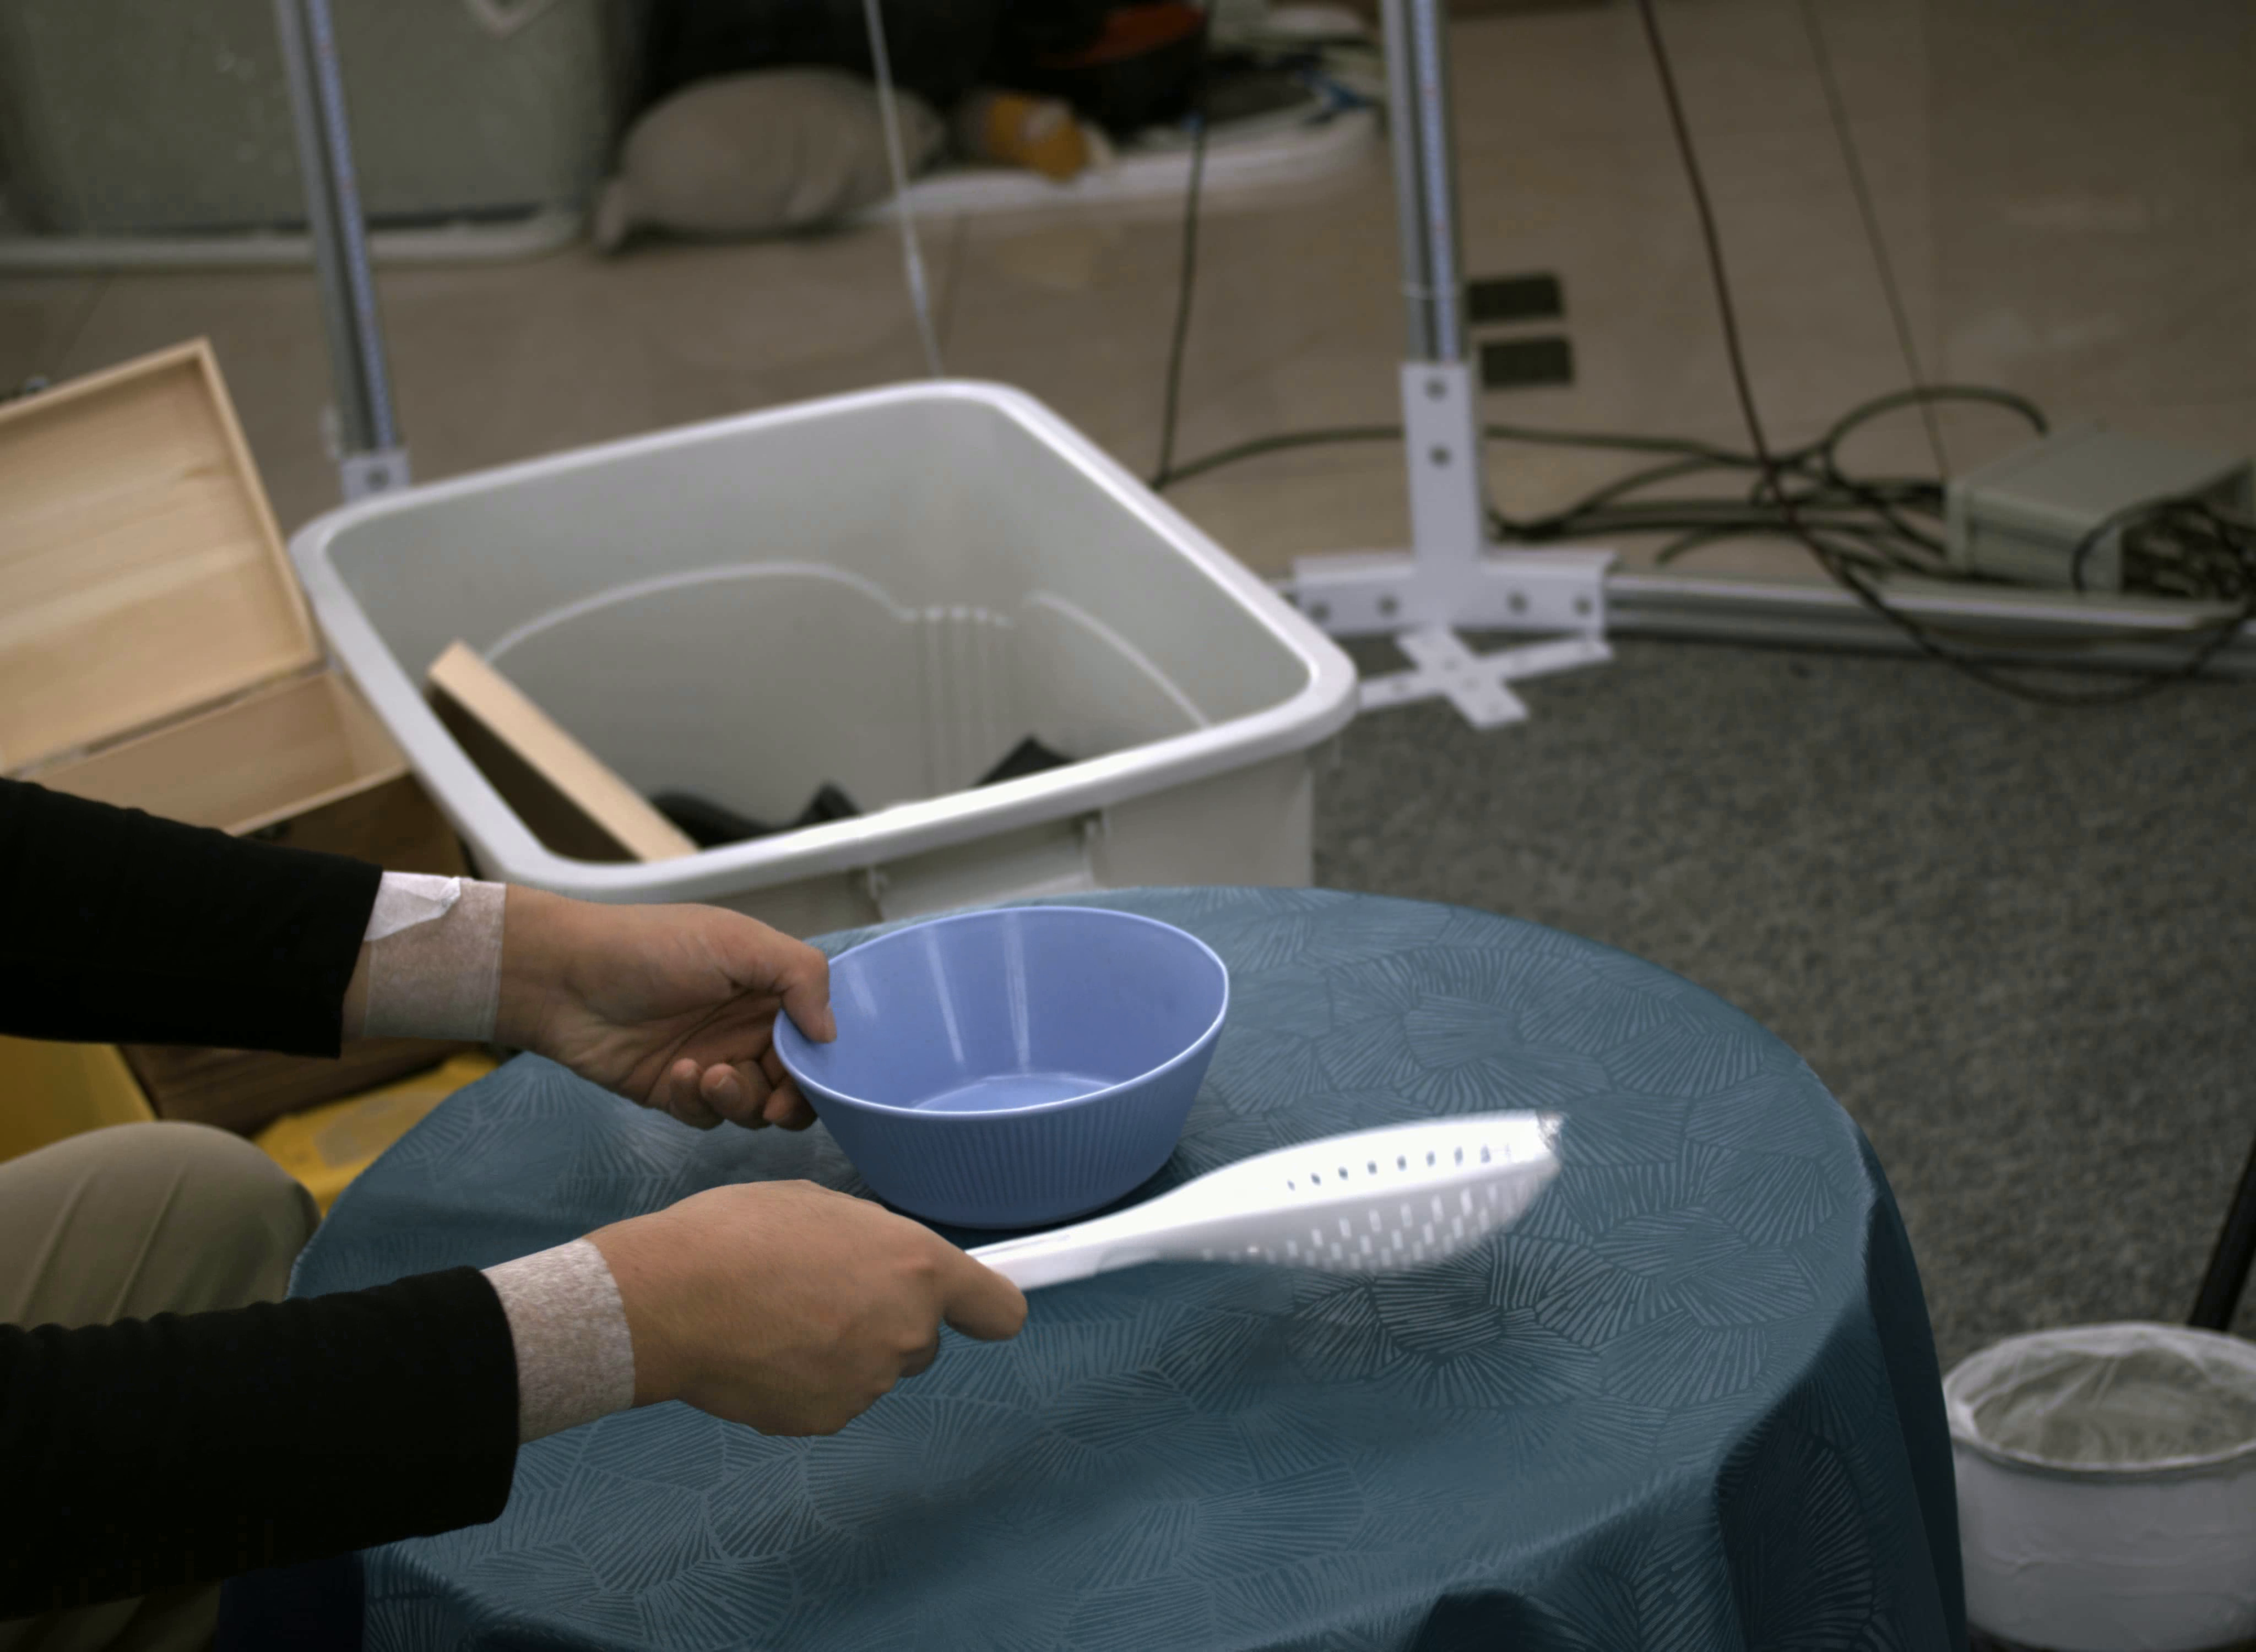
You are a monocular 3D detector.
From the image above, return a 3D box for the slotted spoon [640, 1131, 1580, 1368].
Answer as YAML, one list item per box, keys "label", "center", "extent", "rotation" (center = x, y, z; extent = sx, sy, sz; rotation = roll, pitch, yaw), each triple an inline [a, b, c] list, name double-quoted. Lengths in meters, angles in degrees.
- label: "slotted spoon"
  center: [-0.003, 0.147, 1.975]
  extent: [0.349, 0.046, 0.135]
  rotation: [-5, 5, -24]

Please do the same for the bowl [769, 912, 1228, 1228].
- label: "bowl"
  center: [-0.046, 0.098, 2.163]
  extent: [0.176, 0.071, 0.173]
  rotation: [-6, 25, 3]
